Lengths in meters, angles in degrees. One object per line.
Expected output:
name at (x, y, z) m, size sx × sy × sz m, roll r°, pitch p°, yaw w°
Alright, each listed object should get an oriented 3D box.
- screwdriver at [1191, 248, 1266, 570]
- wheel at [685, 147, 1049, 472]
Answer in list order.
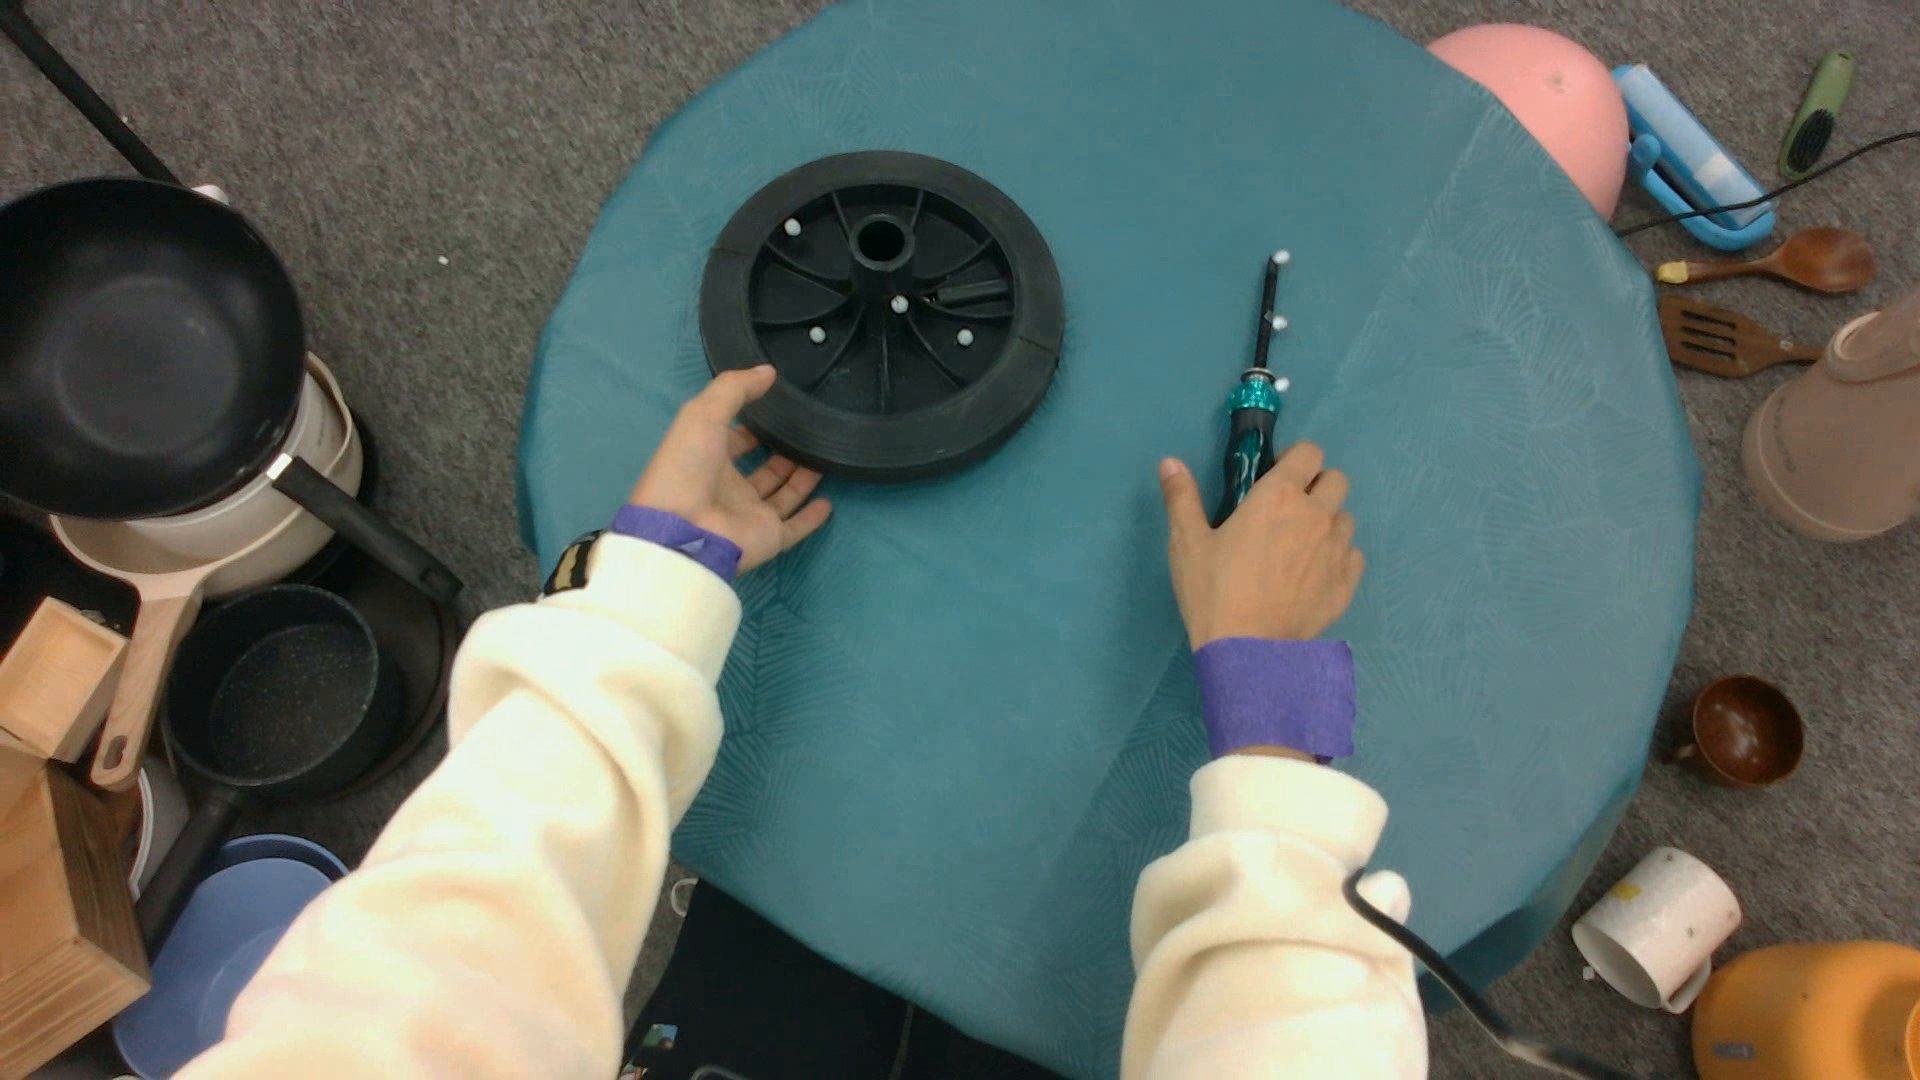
screwdriver at (0.144, -0.073, 0.707) m, size 0.034 × 0.033 × 0.191 m, roll 11°, pitch 64°, yaw 3°
wheel at (-0.045, -0.131, 0.694) m, size 0.190 × 0.079 × 0.187 m, roll -34°, pitch 73°, yaw -18°
